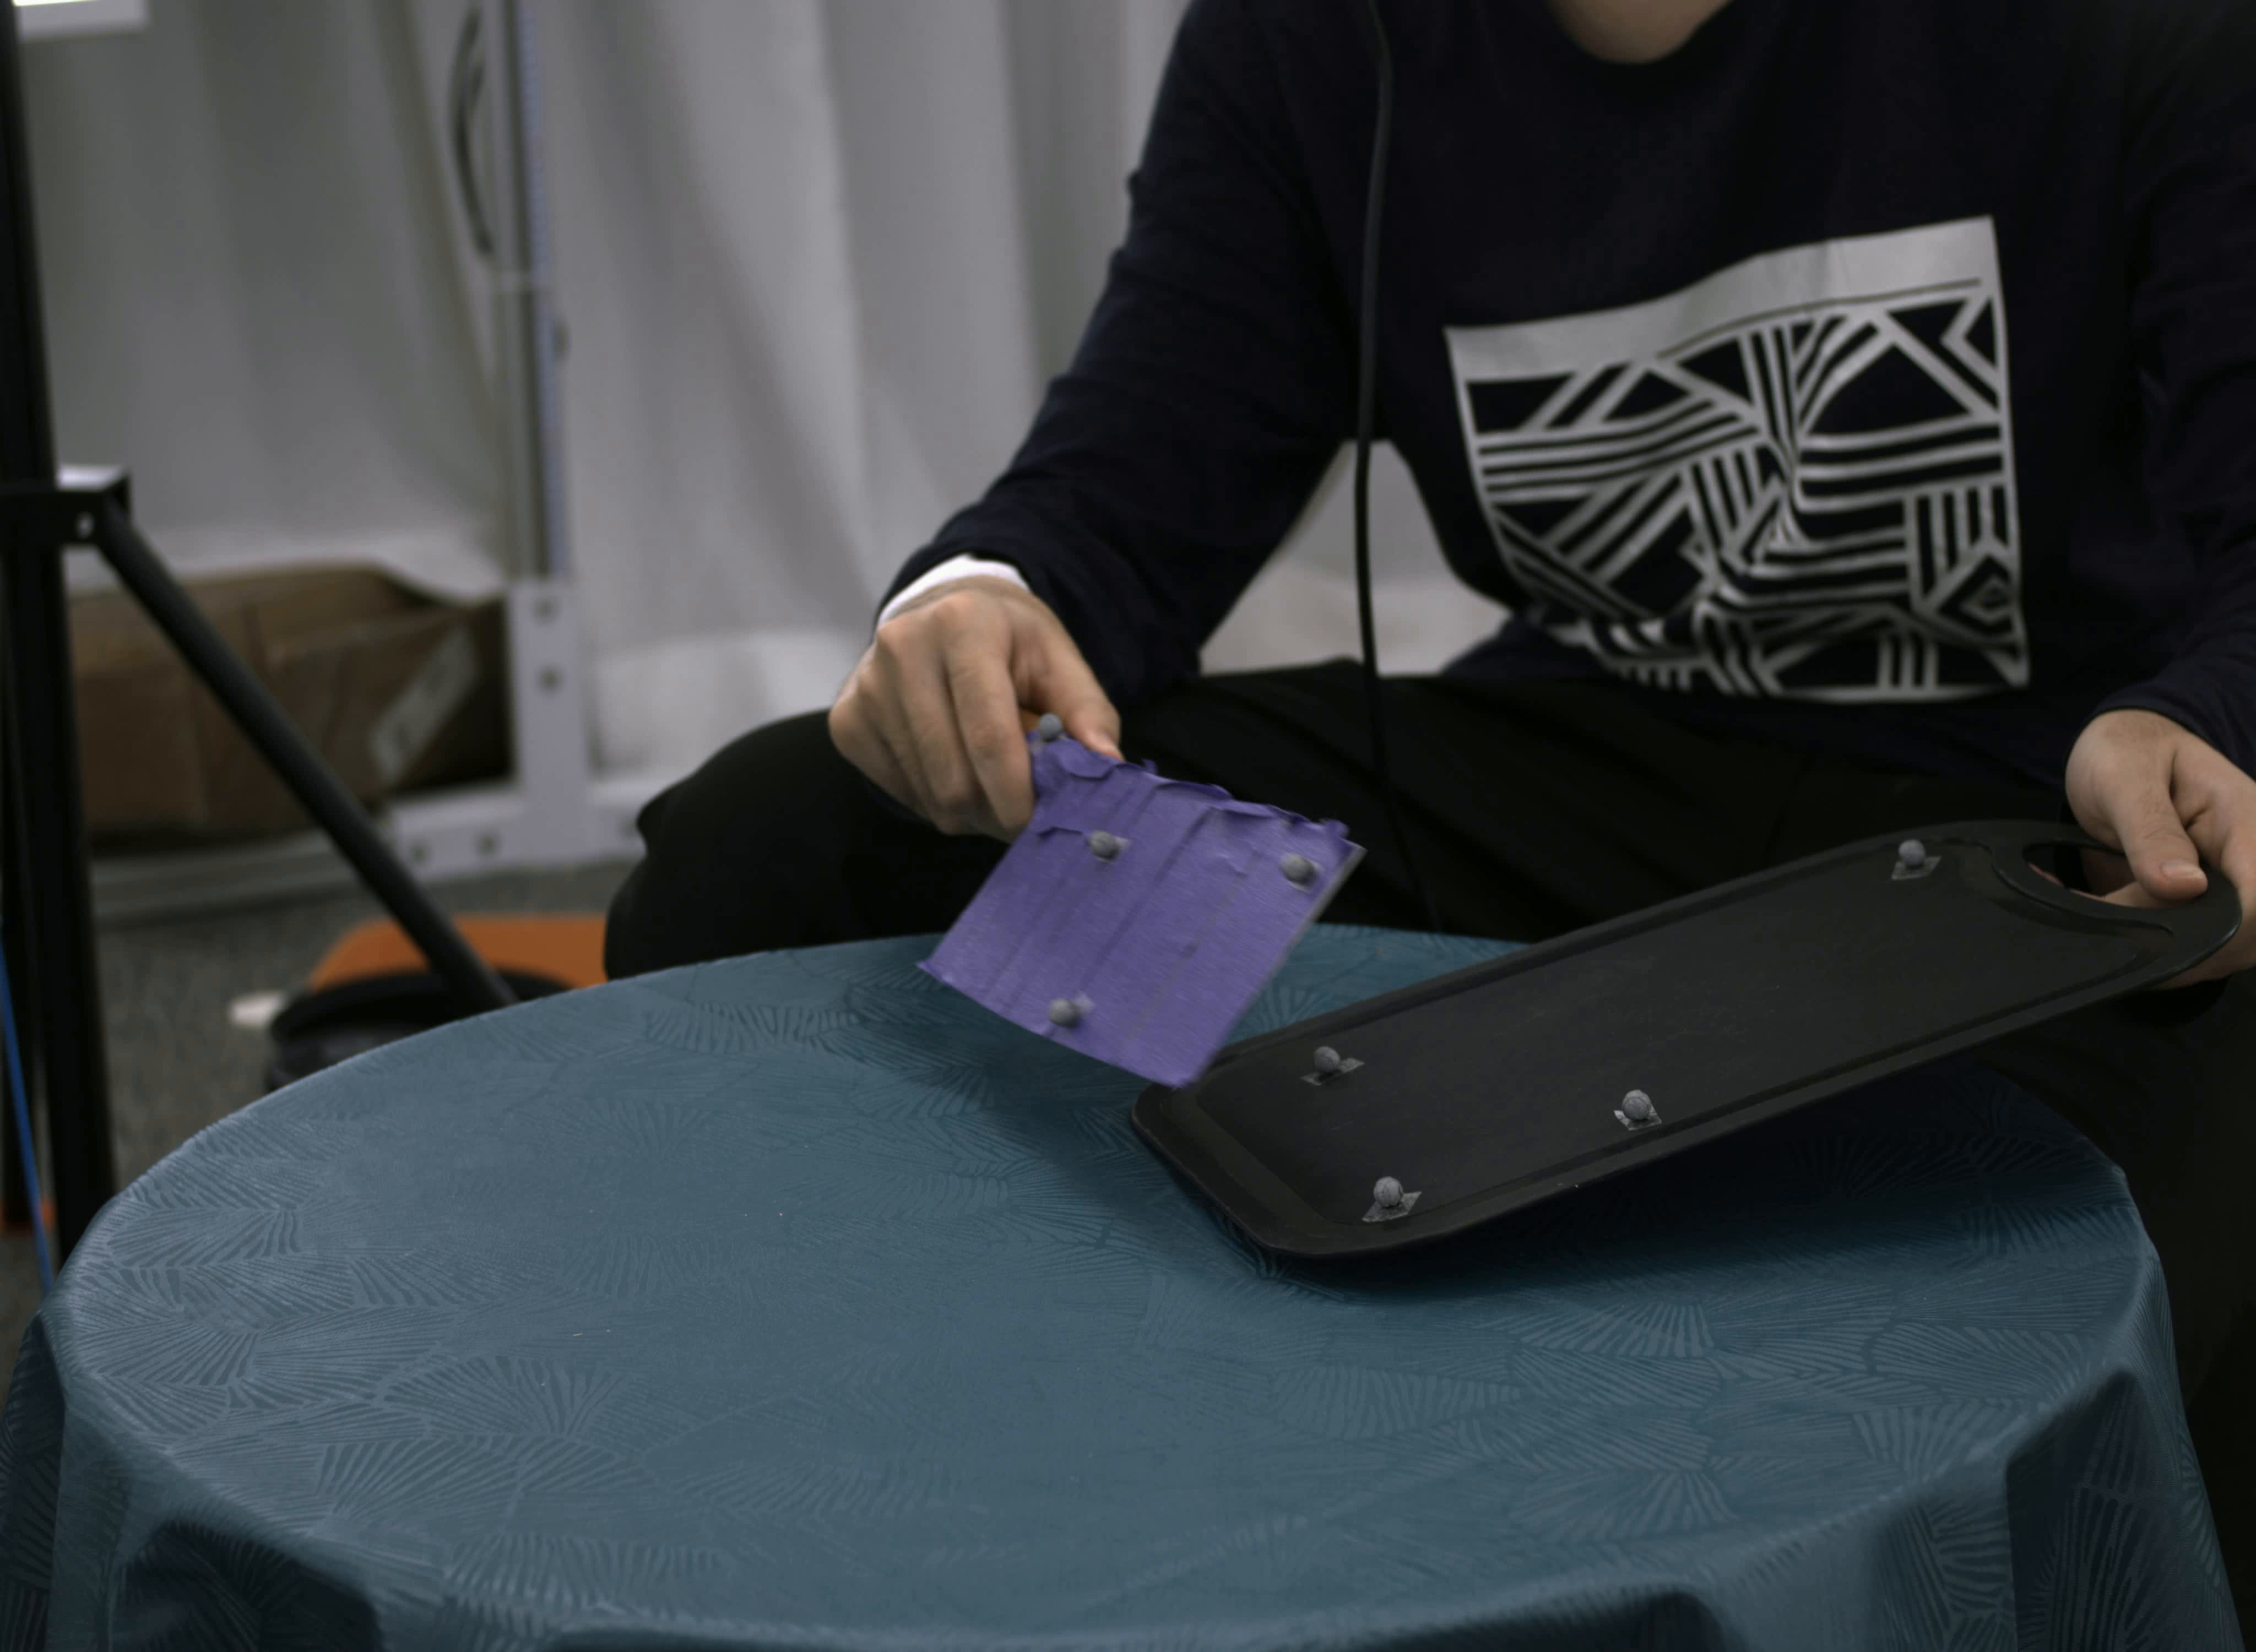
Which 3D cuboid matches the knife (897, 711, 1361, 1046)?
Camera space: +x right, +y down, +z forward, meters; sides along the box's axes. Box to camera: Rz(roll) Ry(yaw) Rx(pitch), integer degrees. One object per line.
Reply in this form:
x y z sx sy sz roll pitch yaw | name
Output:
-0.024 0.013 1.646 0.104 0.032 0.320 -53 20 -9 | knife

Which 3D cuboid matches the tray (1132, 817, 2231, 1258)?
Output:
0.169 0.056 1.583 0.322 0.010 0.214 -18 16 -10 | tray
